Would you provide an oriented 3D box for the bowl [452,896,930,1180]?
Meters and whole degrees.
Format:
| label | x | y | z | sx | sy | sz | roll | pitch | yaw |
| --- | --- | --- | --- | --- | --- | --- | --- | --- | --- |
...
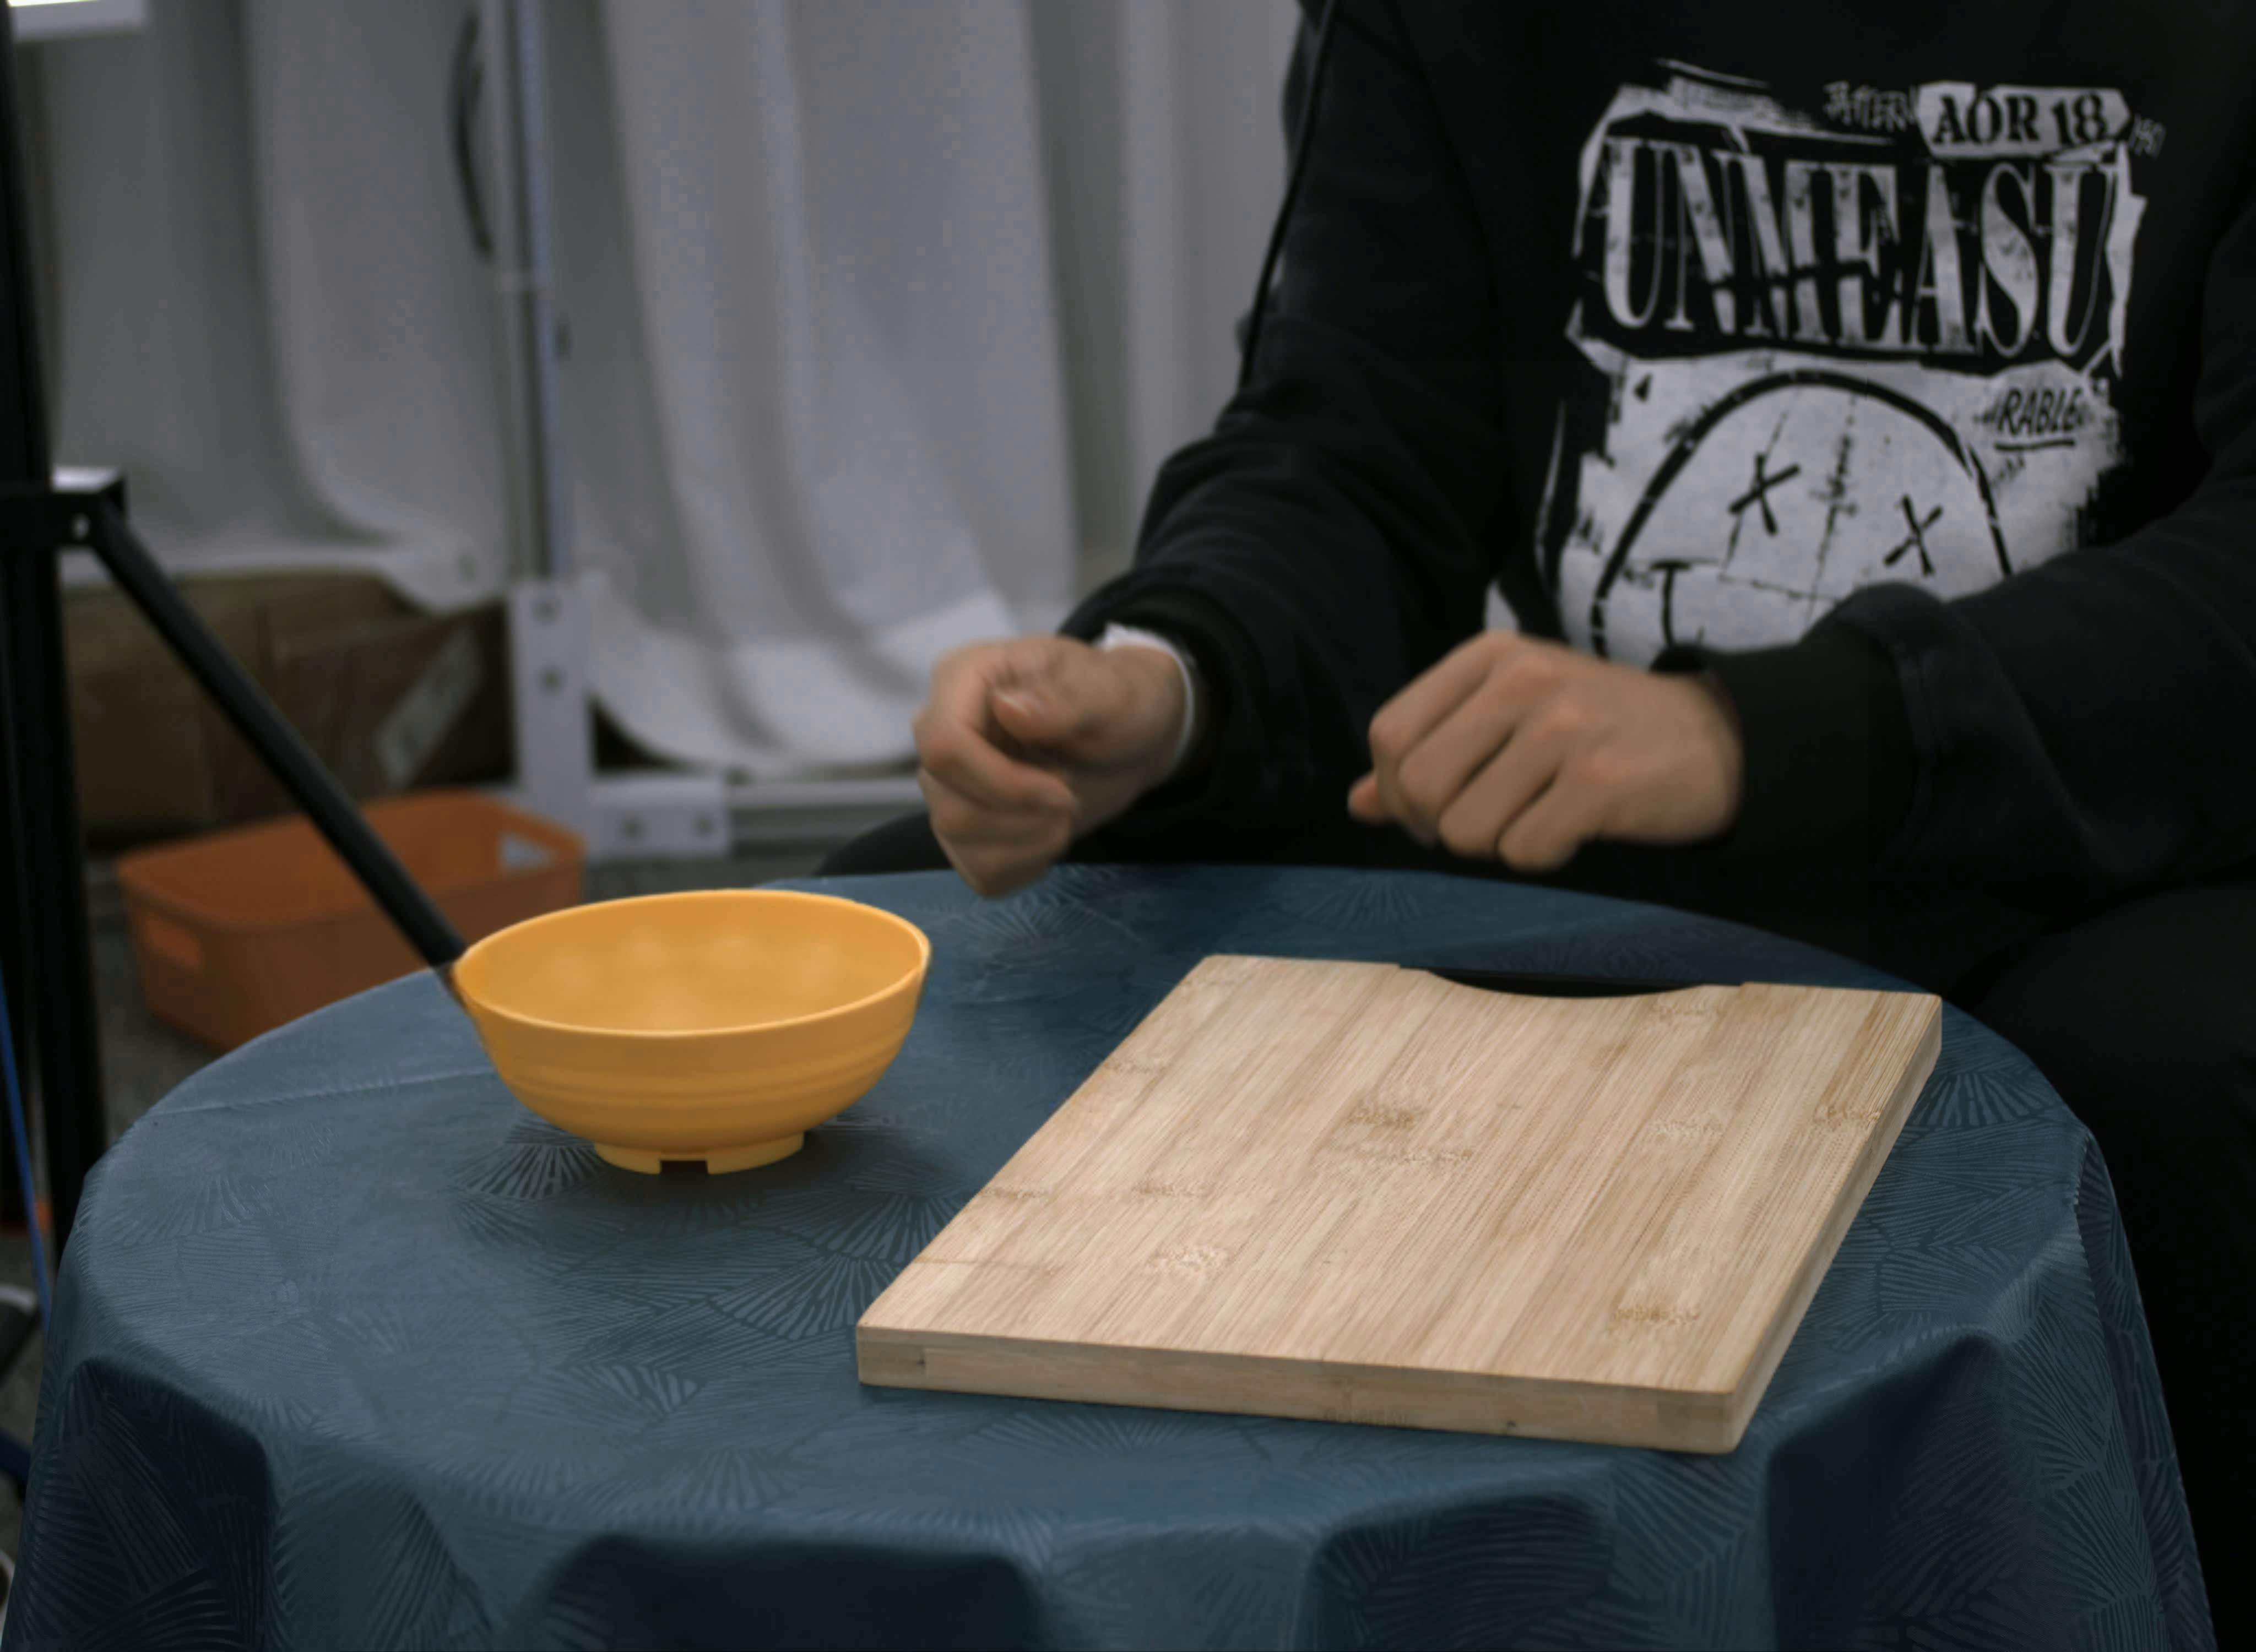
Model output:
| label | x | y | z | sx | sy | sz | roll | pitch | yaw |
| --- | --- | --- | --- | --- | --- | --- | --- | --- | --- |
| bowl | -0.132 | 0.069 | 1.616 | 0.144 | 0.060 | 0.146 | 0 | 15 | -1 |

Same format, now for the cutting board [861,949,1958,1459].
| label | x | y | z | sx | sy | sz | roll | pitch | yaw |
| --- | --- | --- | --- | --- | --- | --- | --- | --- | --- |
| cutting board | 0.093 | 0.101 | 1.537 | 0.253 | 0.023 | 0.345 | 2 | 17 | 17 |
